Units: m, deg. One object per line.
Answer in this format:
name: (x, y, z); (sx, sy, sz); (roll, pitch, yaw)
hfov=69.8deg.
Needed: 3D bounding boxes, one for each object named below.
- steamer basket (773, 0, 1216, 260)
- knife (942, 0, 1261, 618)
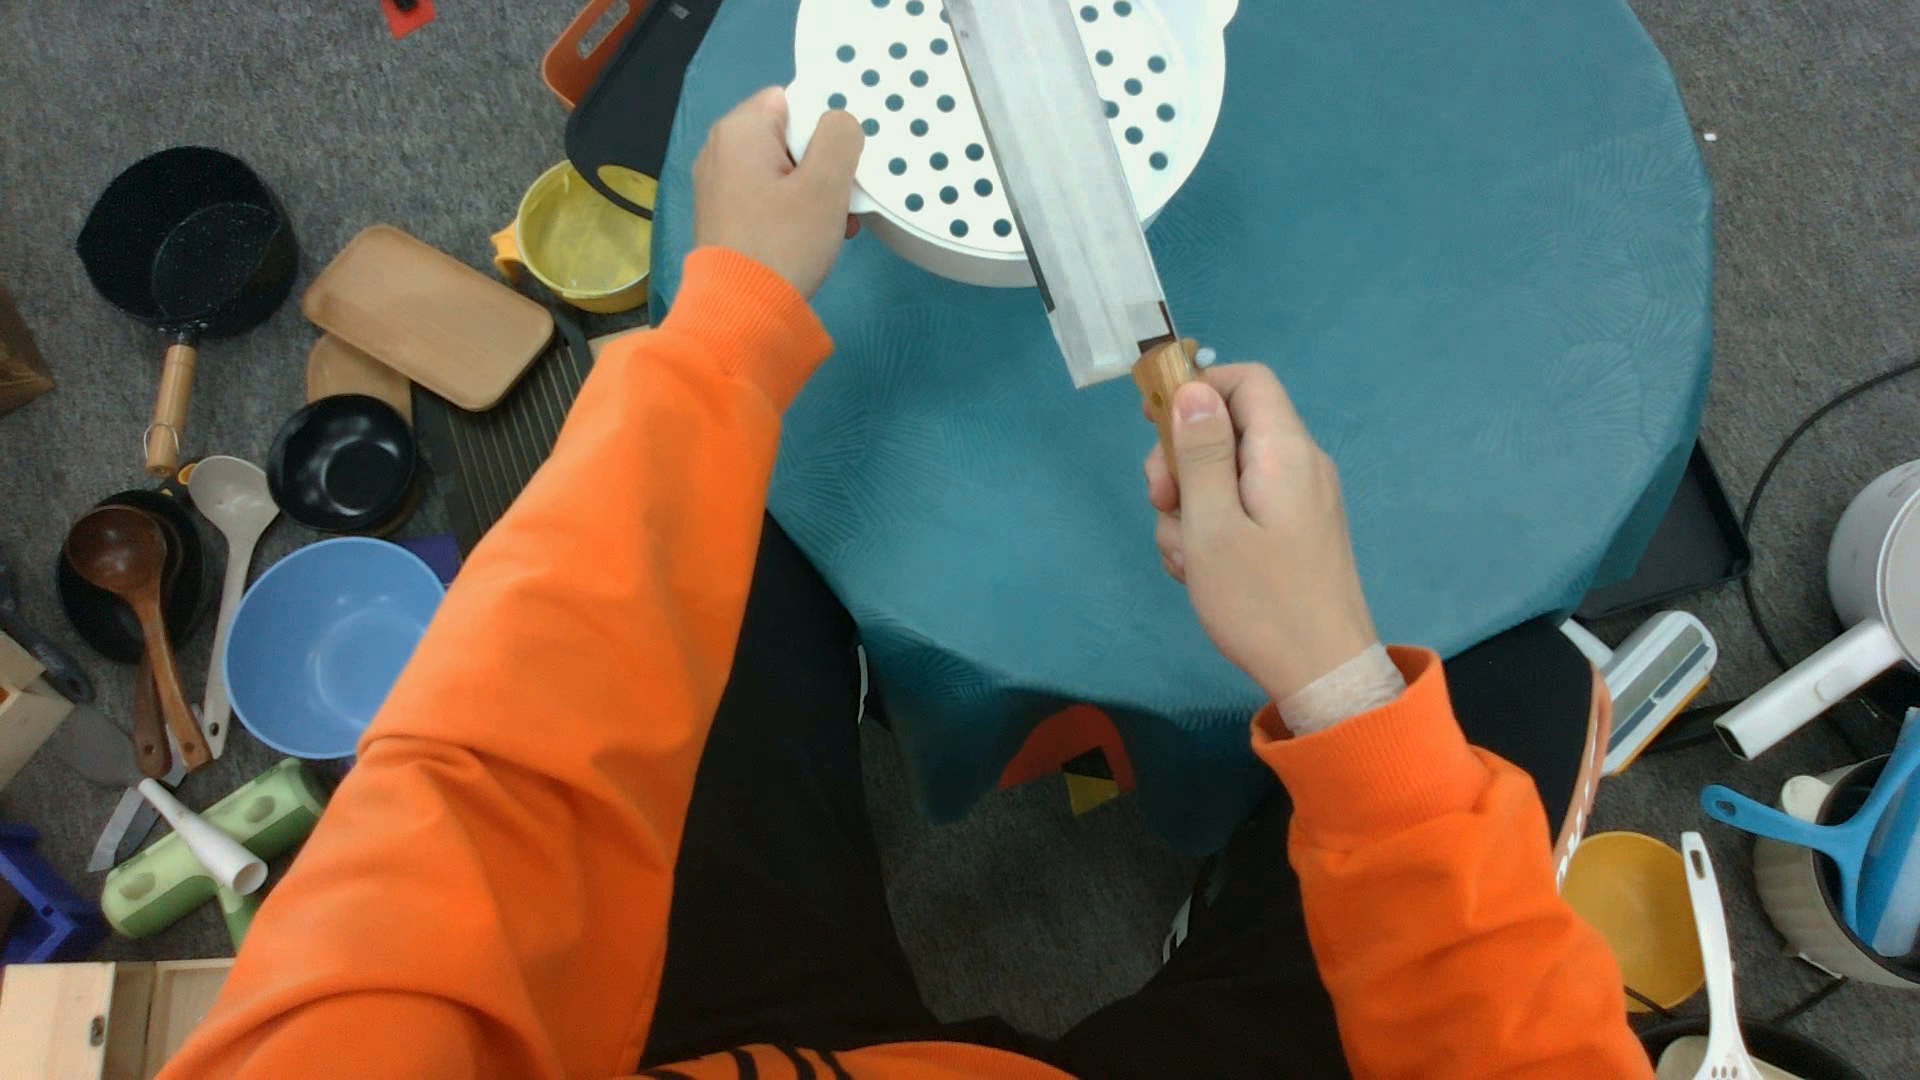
steamer basket: (0.019, -0.237, 0.671); (0.231, 0.069, 0.202); (-31, 83, -10)
knife: (0.051, -0.111, 0.573); (0.021, 0.092, 0.305); (-23, 97, -22)
